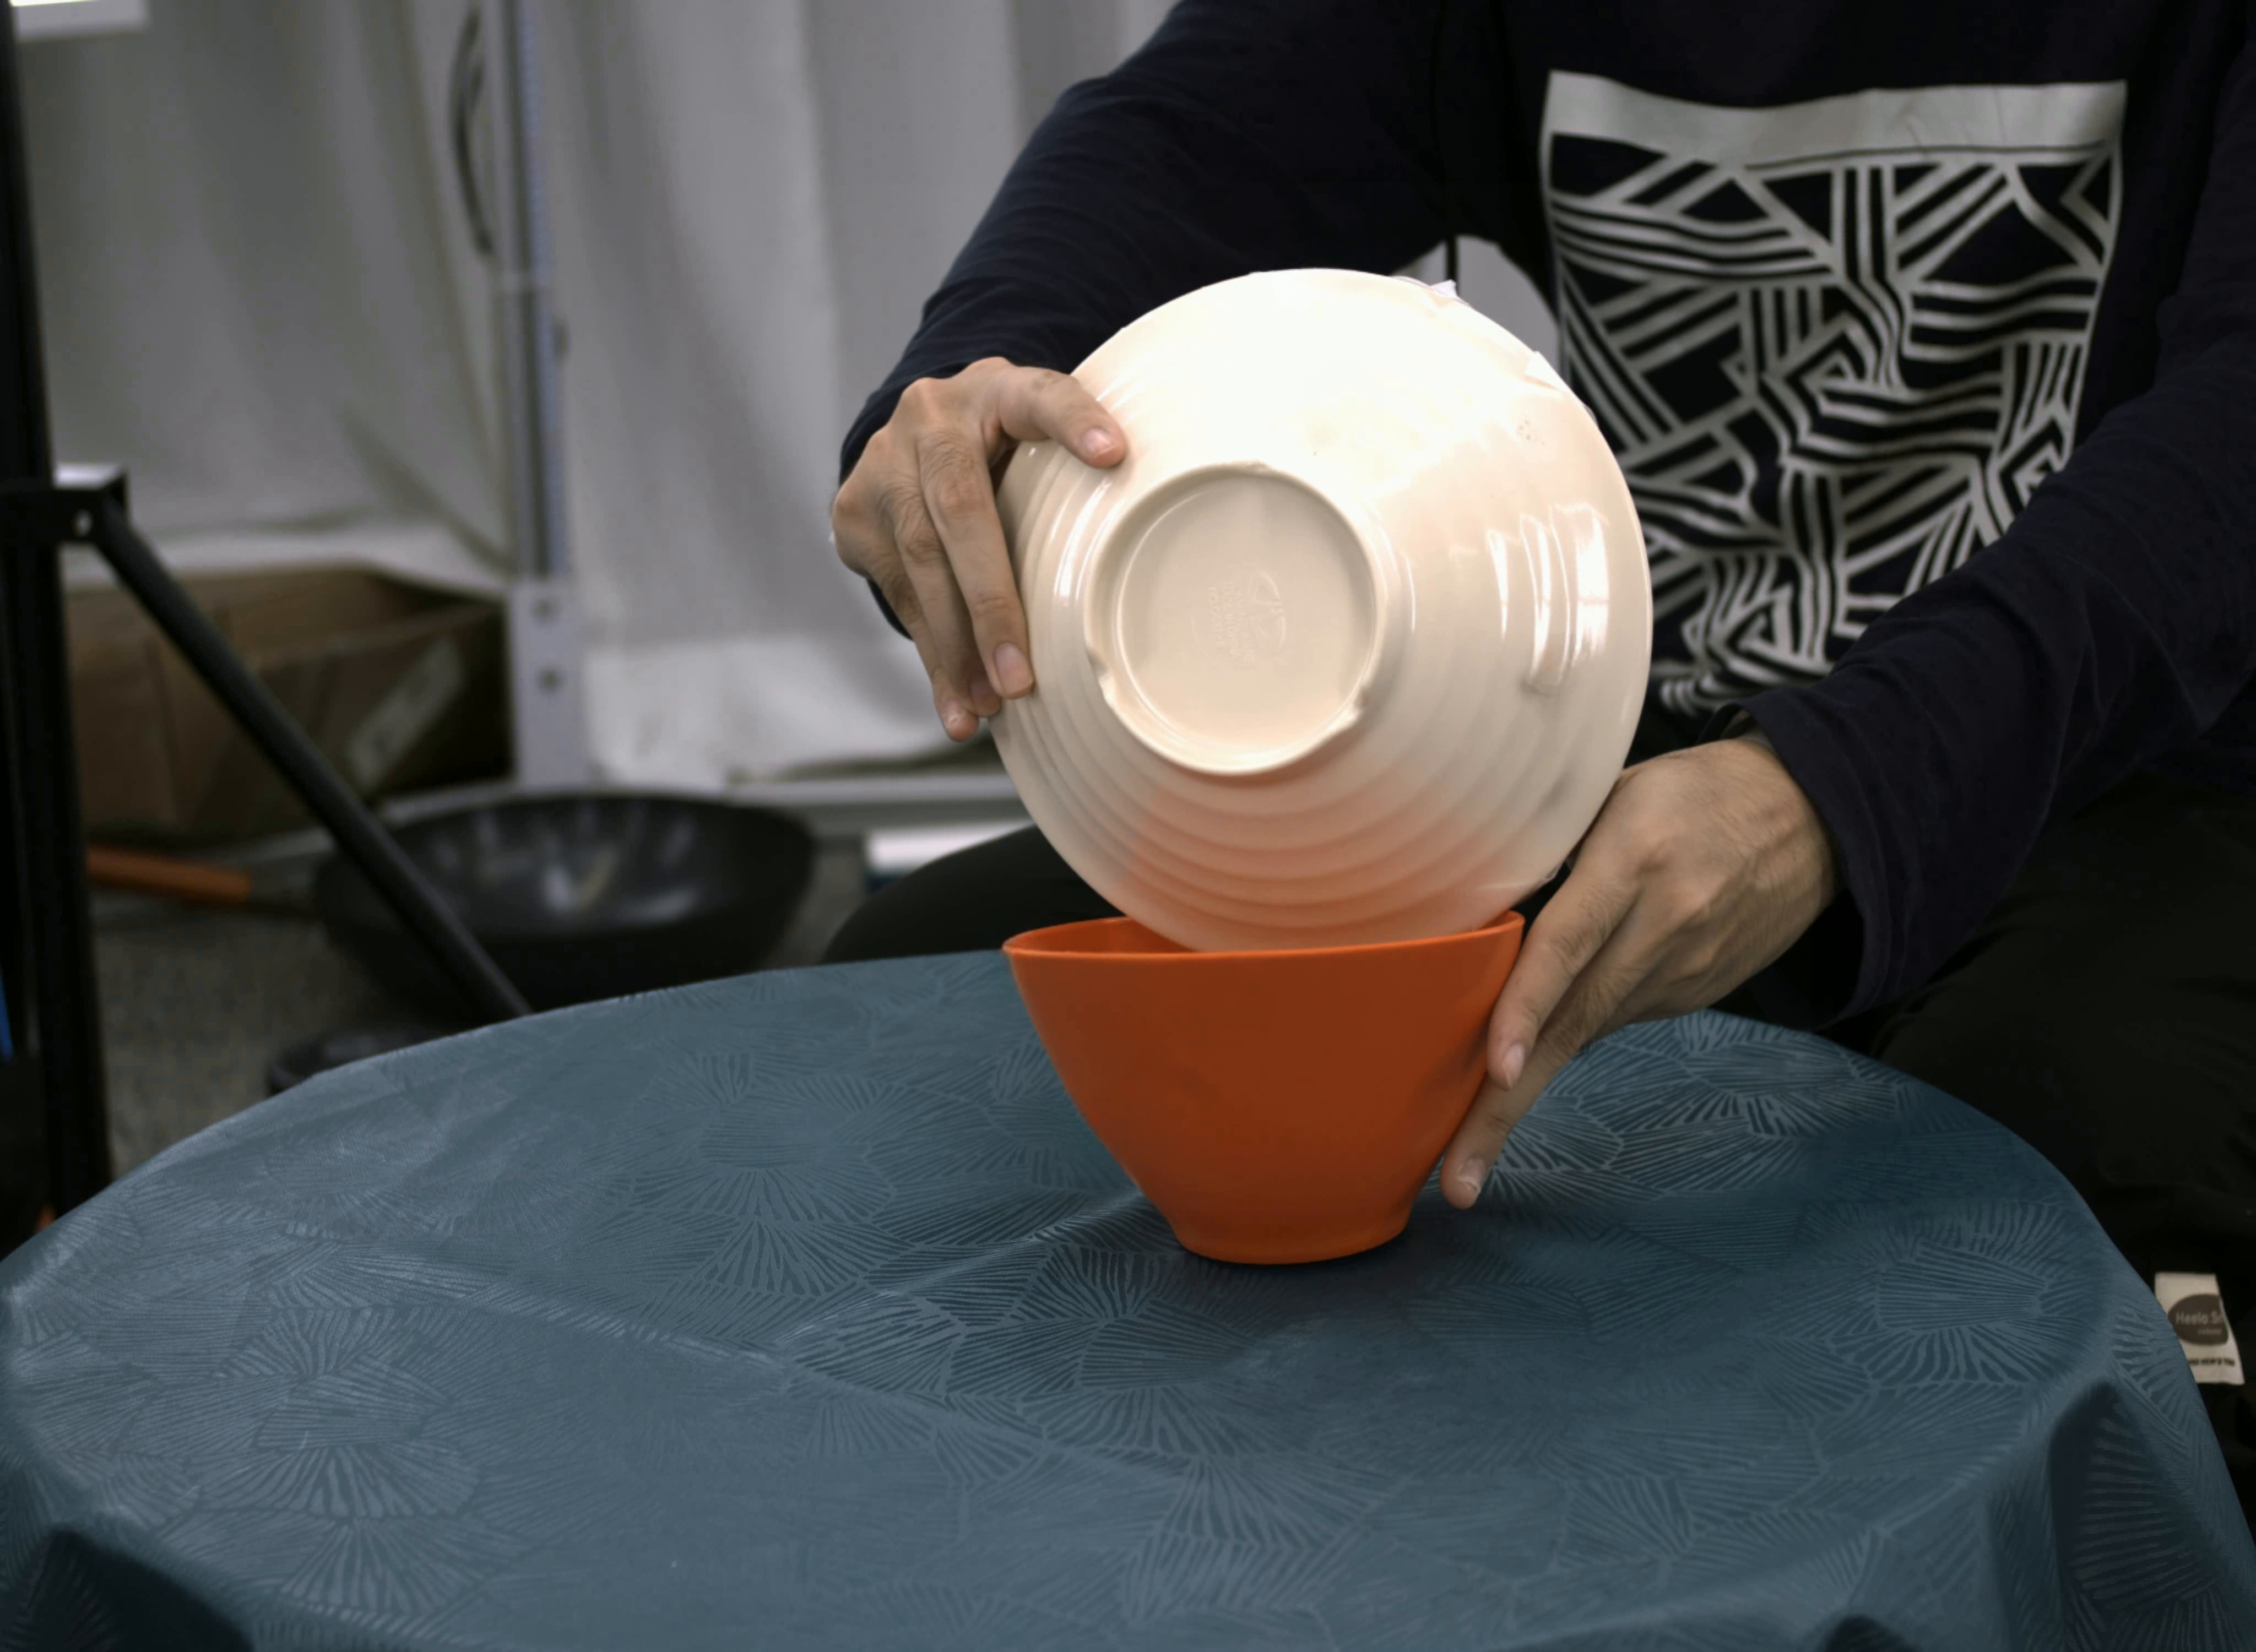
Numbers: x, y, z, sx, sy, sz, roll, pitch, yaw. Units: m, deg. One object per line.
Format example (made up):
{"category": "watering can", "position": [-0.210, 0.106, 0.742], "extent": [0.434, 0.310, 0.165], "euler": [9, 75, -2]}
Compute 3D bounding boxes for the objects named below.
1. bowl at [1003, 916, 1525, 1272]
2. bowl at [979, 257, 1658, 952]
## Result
{"category": "bowl", "position": [0.041, 0.070, 1.499], "extent": [0.147, 0.105, 0.148], "euler": [-4, 11, -1]}
{"category": "bowl", "position": [0.042, -0.061, 1.490], "extent": [0.206, 0.205, 0.076], "euler": [4, 0, 20]}
